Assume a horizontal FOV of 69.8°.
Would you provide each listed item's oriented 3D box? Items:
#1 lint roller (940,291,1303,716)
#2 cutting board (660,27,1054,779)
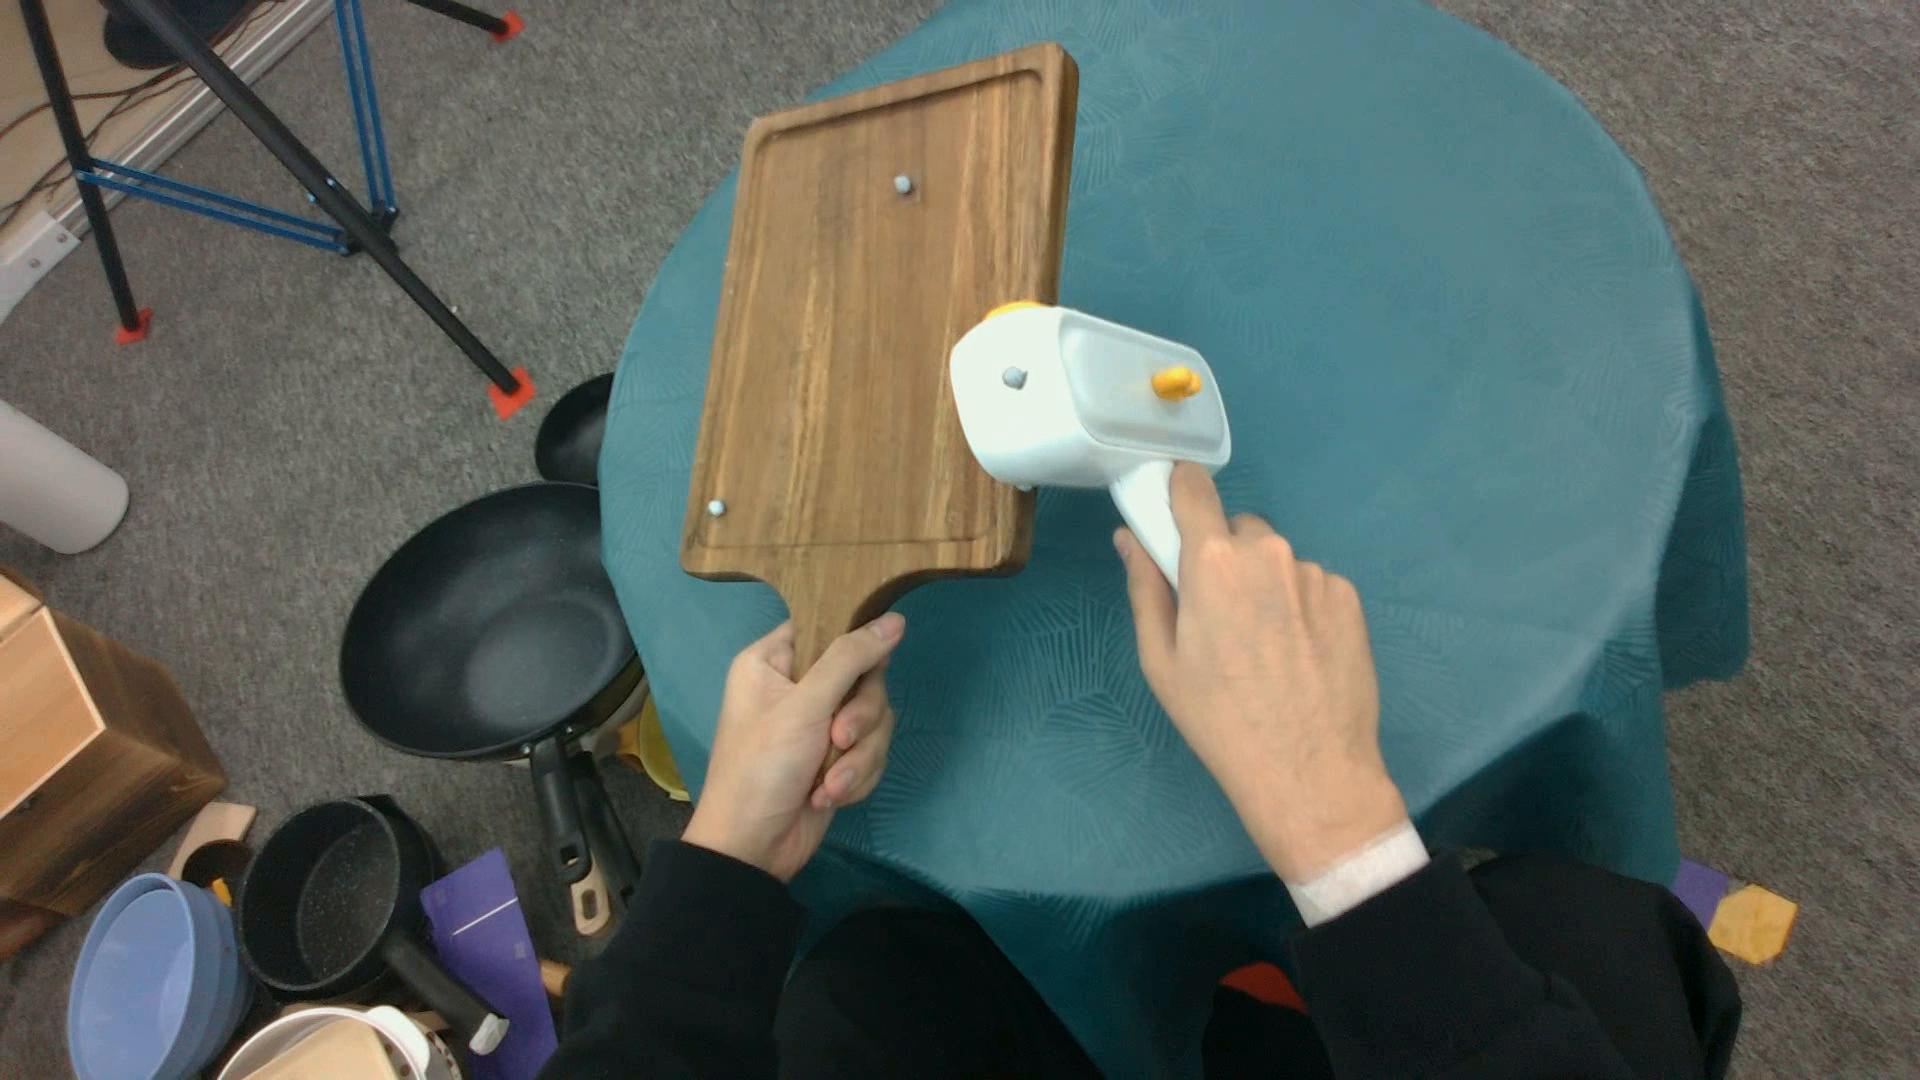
[{"bbox_3d":[0.080,-0.011,0.578,0.074,0.193,0.192,-24,82,23],"label":"lint roller"},{"bbox_3d":[-0.057,-0.065,0.655,0.200,0.023,0.353,-3,75,31],"label":"cutting board"}]
